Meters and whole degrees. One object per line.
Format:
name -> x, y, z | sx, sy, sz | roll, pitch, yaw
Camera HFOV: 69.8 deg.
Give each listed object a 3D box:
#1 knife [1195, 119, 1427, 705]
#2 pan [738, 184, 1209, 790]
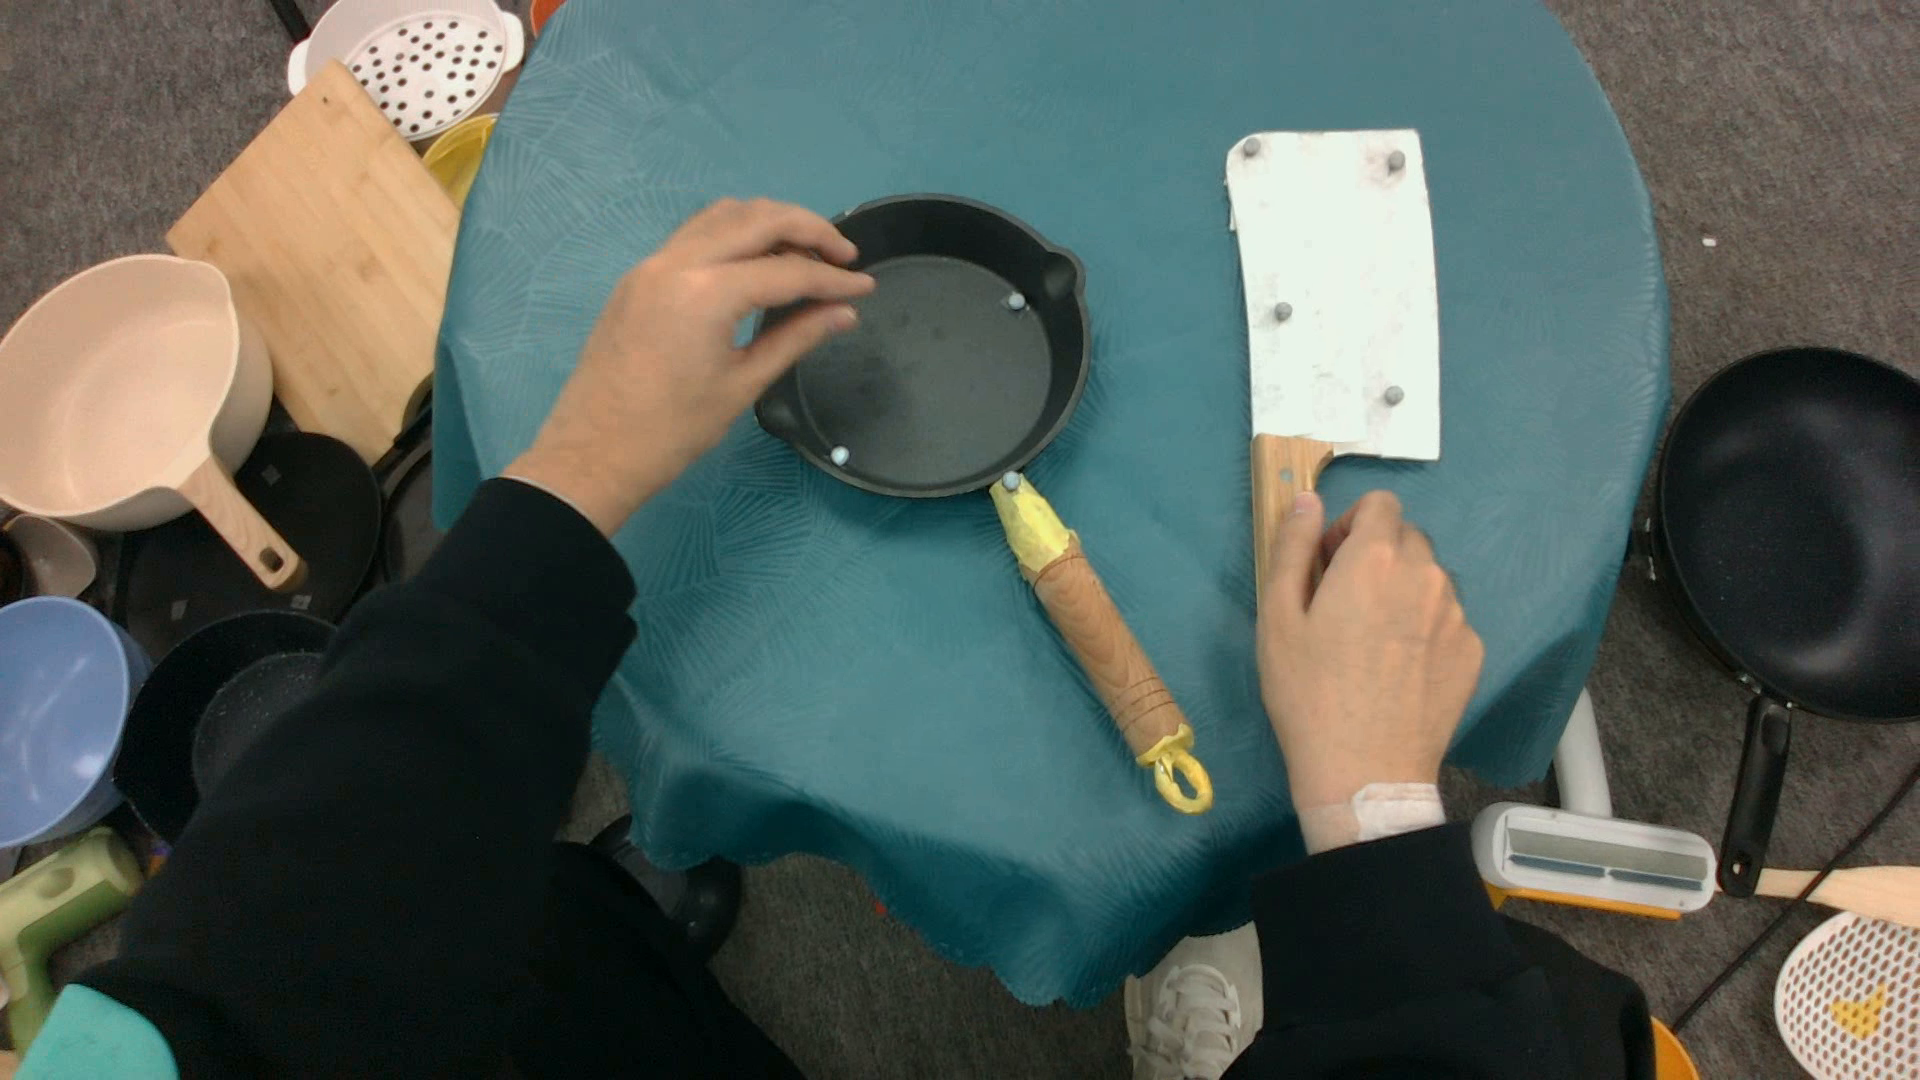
knife -> 0.164, -0.075, 0.653 | 0.114, 0.021, 0.316 | 6, 67, 2
pan -> 0.016, -0.026, 0.618 | 0.169, 0.049, 0.324 | -27, 71, -10
